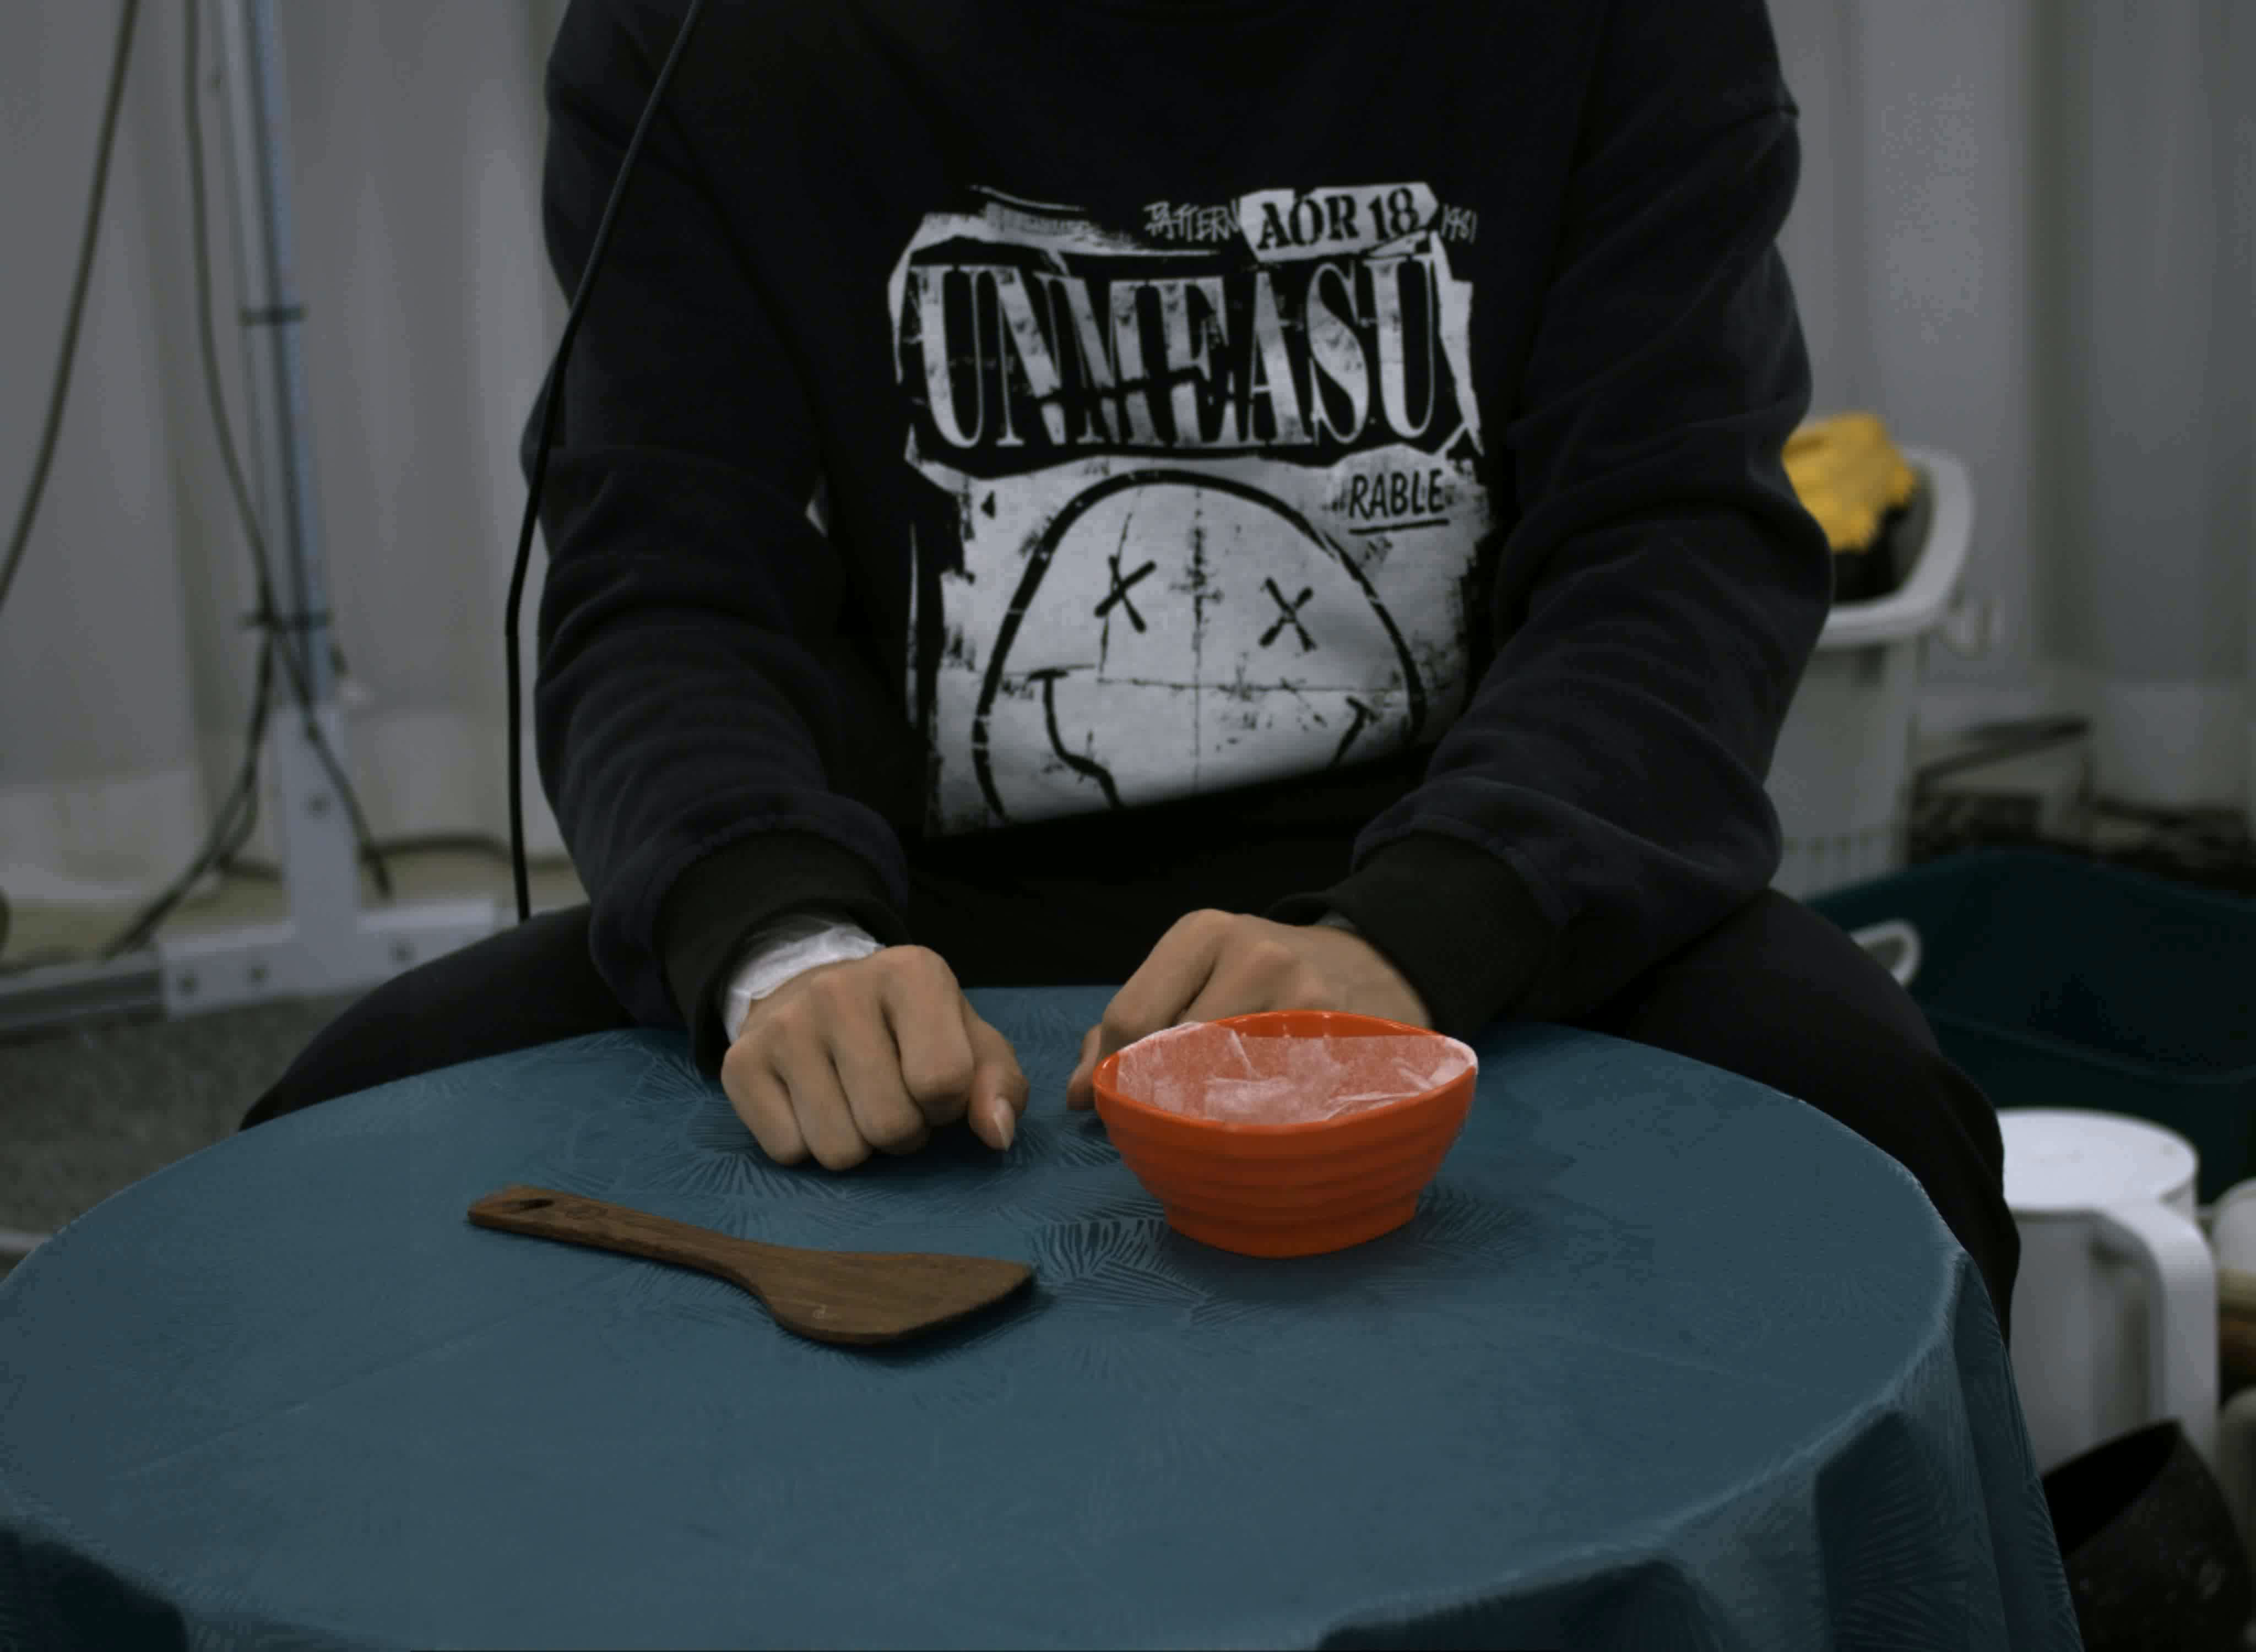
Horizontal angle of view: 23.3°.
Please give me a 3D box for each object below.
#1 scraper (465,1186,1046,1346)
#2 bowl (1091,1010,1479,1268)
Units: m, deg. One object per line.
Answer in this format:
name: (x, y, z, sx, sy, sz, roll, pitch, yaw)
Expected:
scraper: (-0.121, 0.131, 1.662, 0.212, 0.011, 0.076, 9, 18, 39)
bowl: (0.049, 0.098, 1.675, 0.118, 0.051, 0.120, -4, 16, 1)
